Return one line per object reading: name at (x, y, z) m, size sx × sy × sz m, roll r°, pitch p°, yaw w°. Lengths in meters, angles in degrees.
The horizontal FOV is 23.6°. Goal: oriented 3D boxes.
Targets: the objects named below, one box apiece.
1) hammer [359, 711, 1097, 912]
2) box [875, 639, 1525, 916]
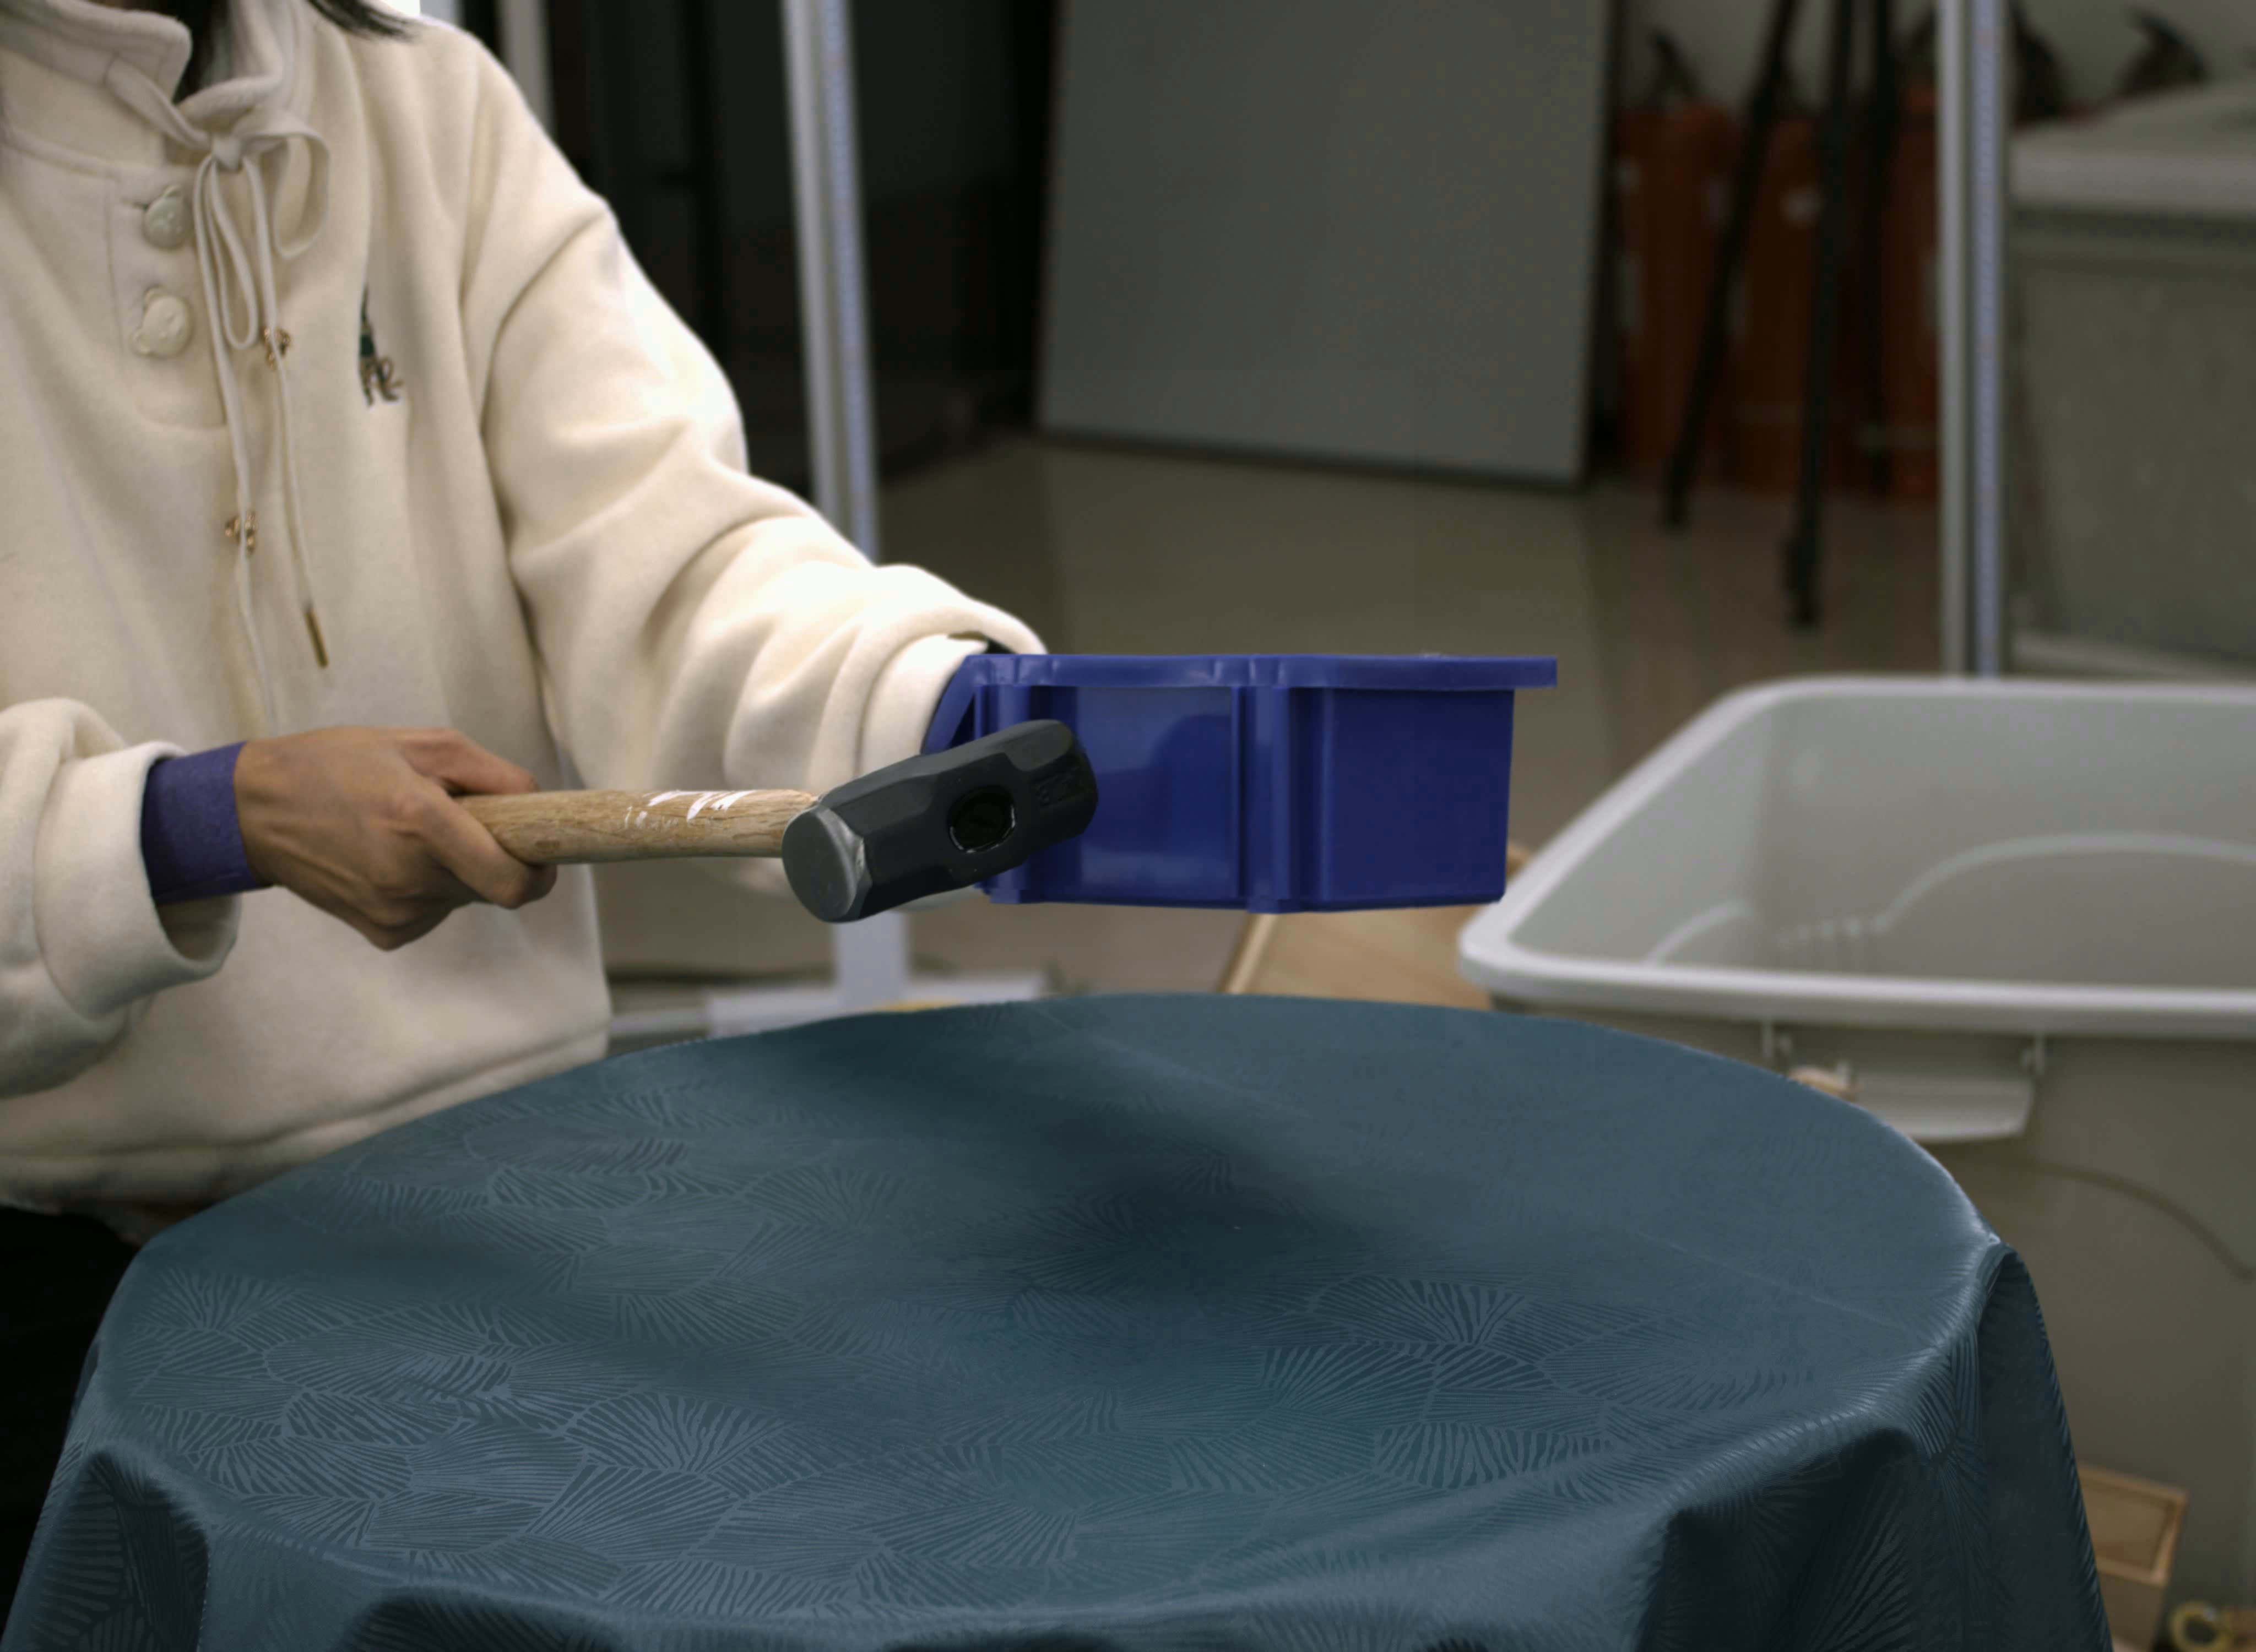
hammer at (-0.148, -0.002, 1.733) m, size 0.105 × 0.039 × 0.308 m, roll -19°, pitch 11°, yaw -41°
box at (0.019, -0.017, 1.731) m, size 0.181 × 0.083 × 0.122 m, roll 5°, pitch 3°, yaw 41°
